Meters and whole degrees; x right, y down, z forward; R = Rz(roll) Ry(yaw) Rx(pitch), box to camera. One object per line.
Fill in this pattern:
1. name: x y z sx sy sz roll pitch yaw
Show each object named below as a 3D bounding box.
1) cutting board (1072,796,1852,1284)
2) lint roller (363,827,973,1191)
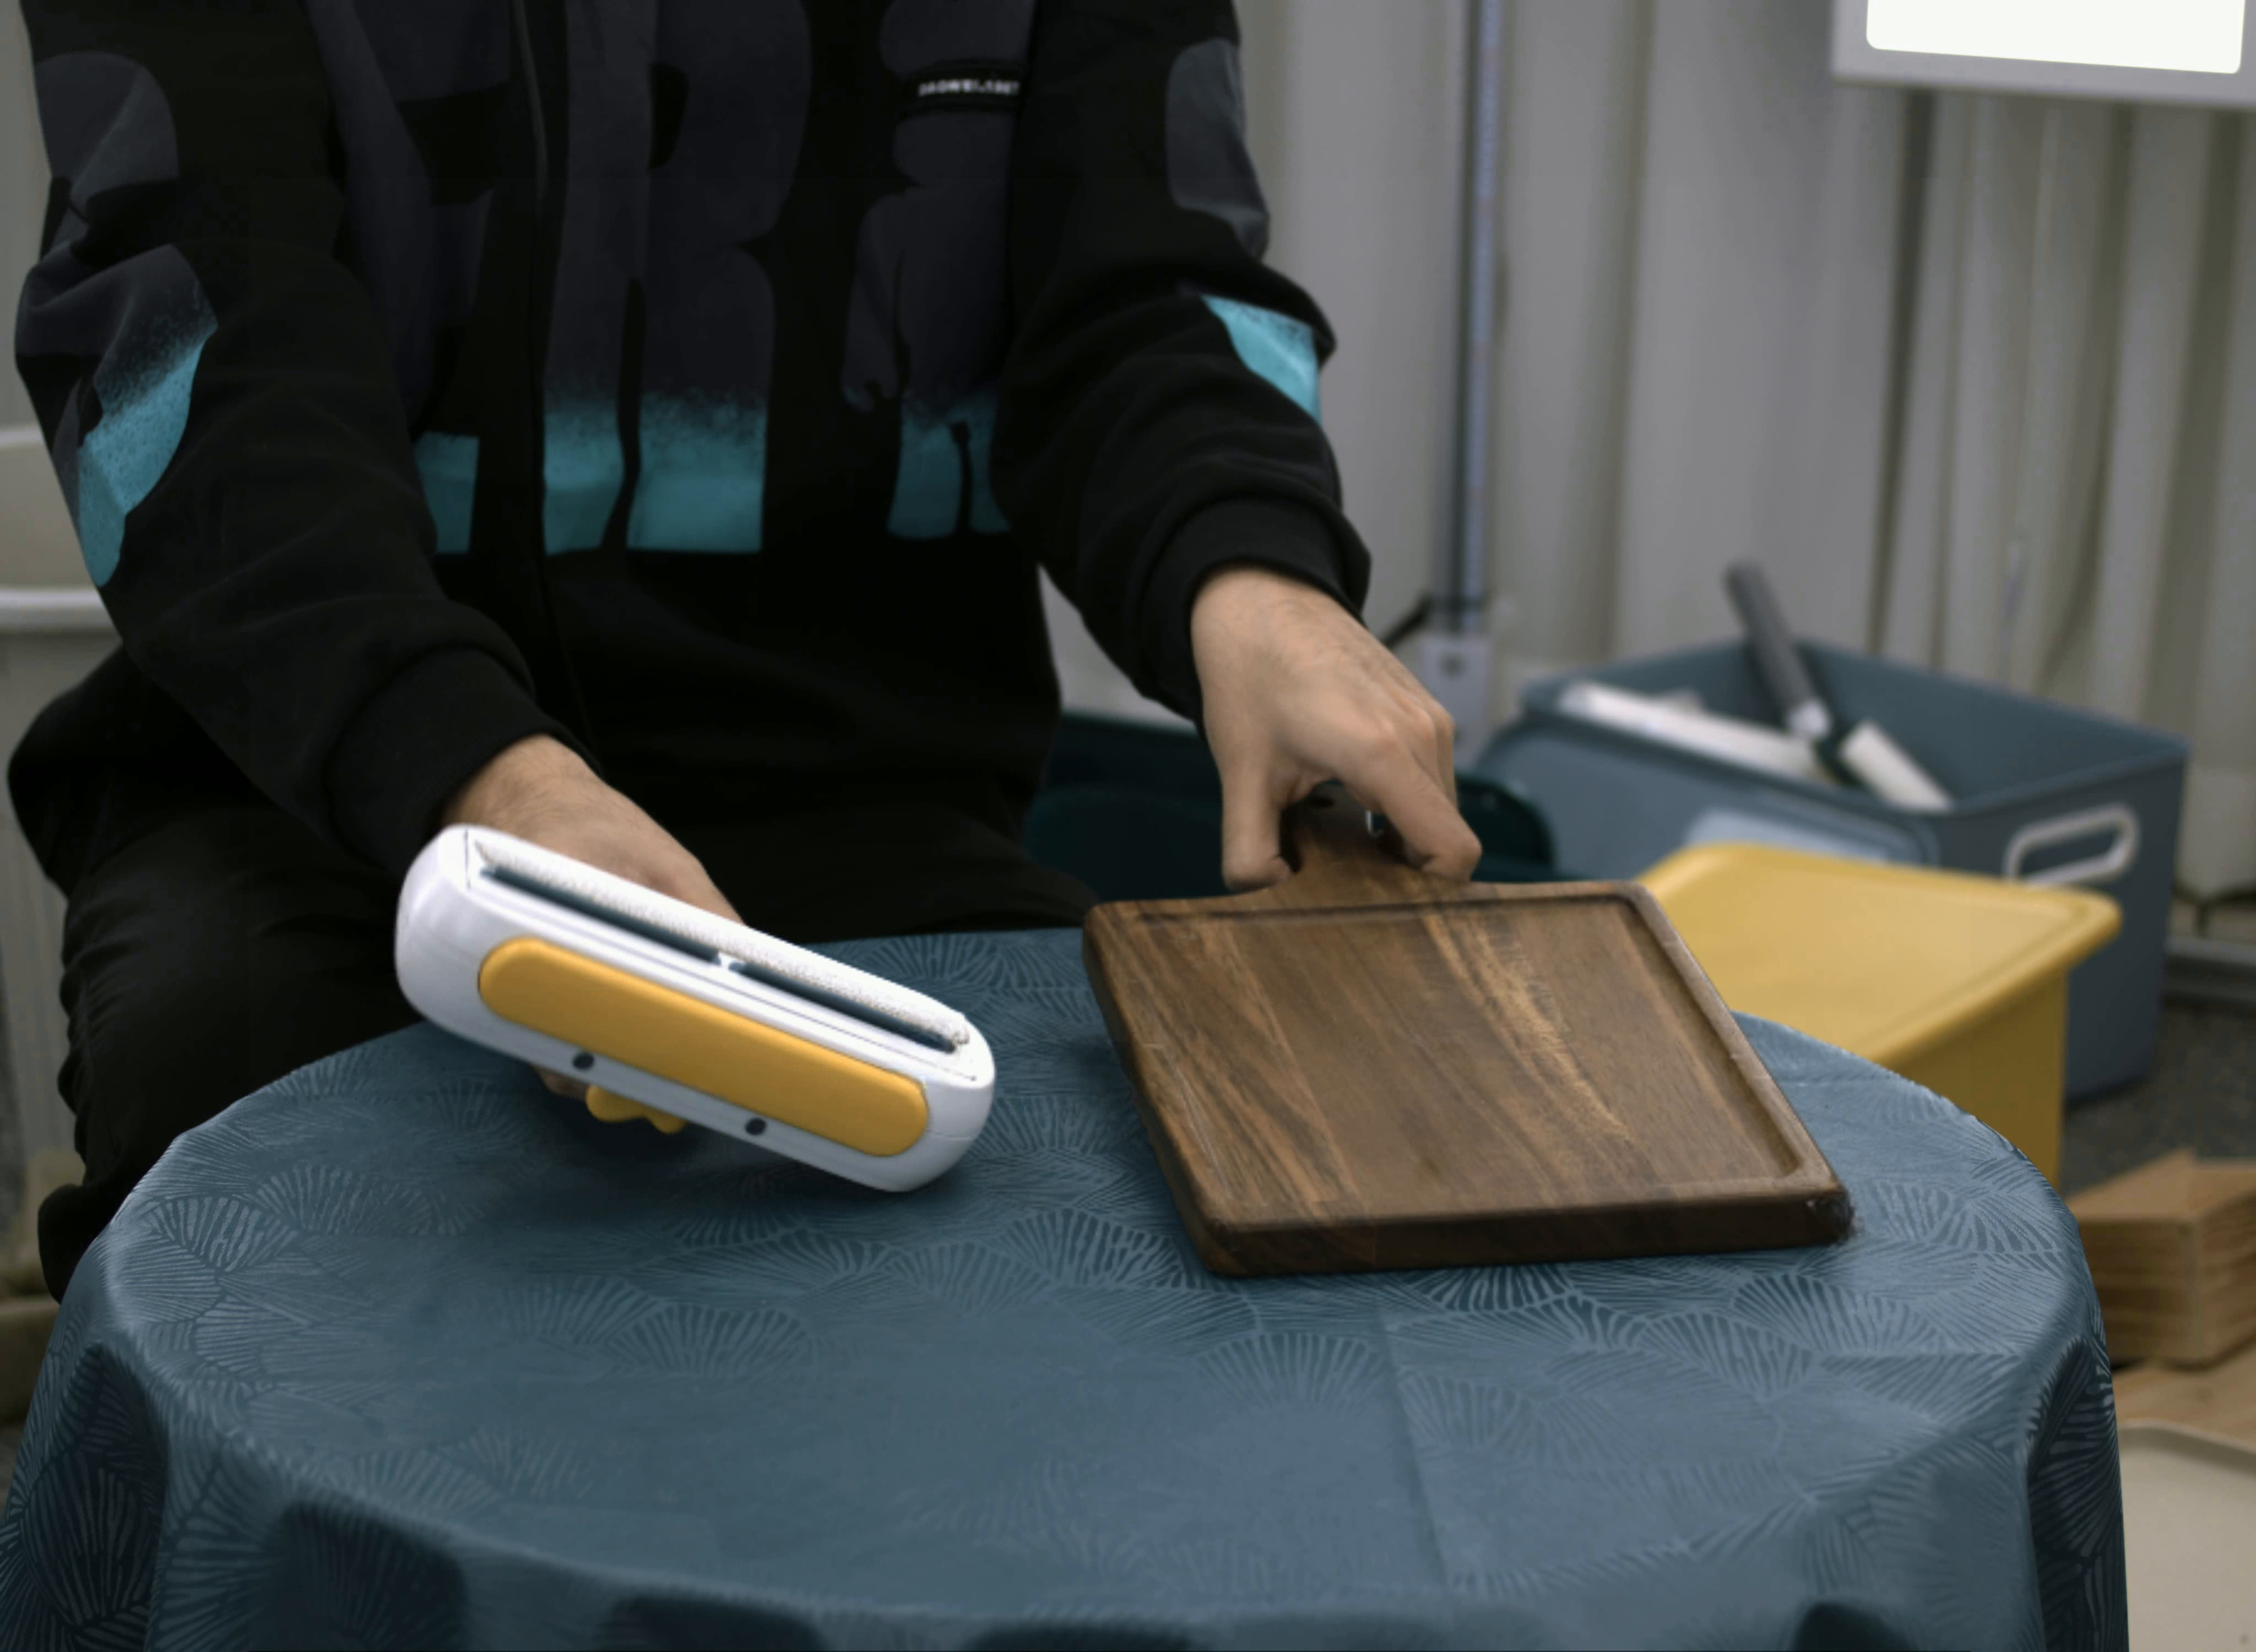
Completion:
1. cutting board: 0.091 0.060 1.714 0.201 0.023 0.349 -3 21 -10
2. lint roller: -0.150 0.047 1.655 0.193 0.074 0.191 17 12 -13
